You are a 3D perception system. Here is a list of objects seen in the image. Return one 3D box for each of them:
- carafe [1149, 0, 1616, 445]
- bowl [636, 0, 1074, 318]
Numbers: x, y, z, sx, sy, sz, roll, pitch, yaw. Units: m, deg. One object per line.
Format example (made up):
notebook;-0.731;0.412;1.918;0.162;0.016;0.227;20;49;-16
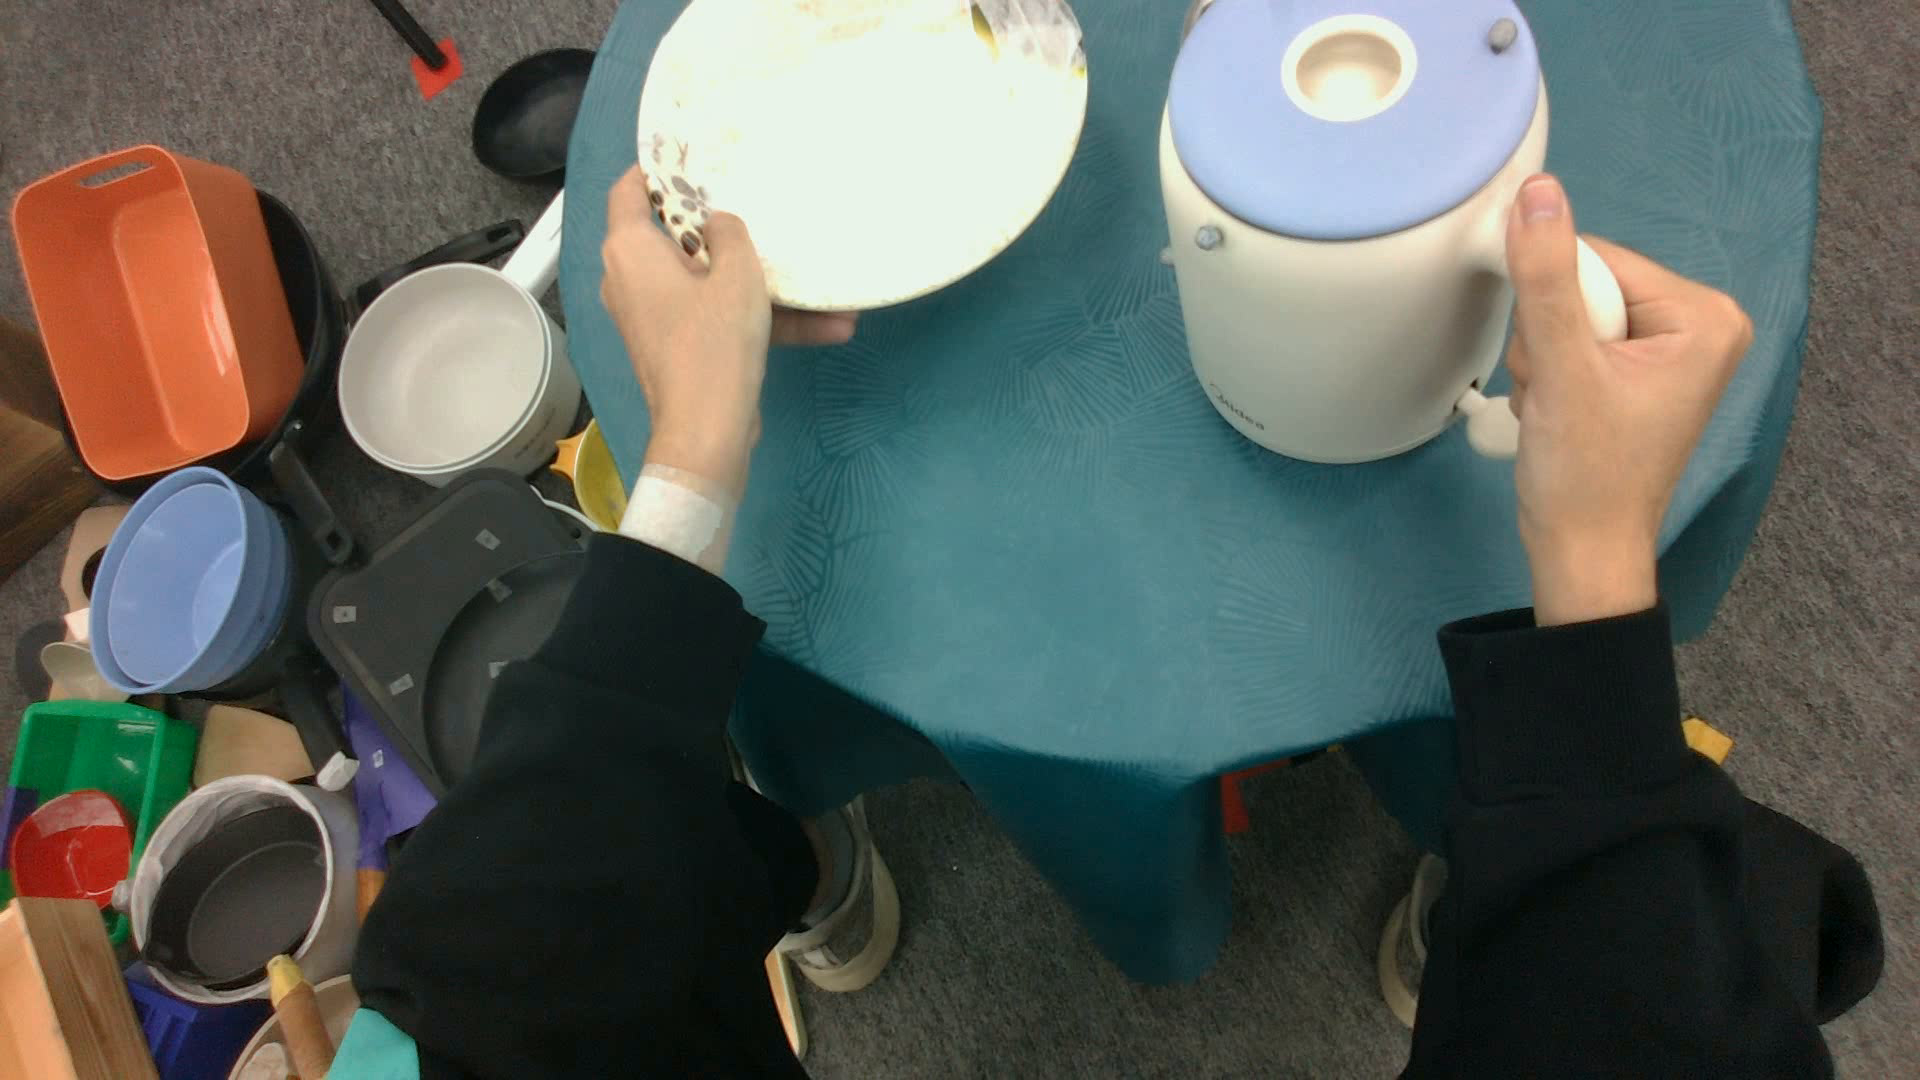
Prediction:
carafe;0.161;-0.112;0.529;0.191;0.182;0.132;41;84;21
bowl;-0.043;-0.188;0.650;0.204;0.078;0.204;-3;77;11
